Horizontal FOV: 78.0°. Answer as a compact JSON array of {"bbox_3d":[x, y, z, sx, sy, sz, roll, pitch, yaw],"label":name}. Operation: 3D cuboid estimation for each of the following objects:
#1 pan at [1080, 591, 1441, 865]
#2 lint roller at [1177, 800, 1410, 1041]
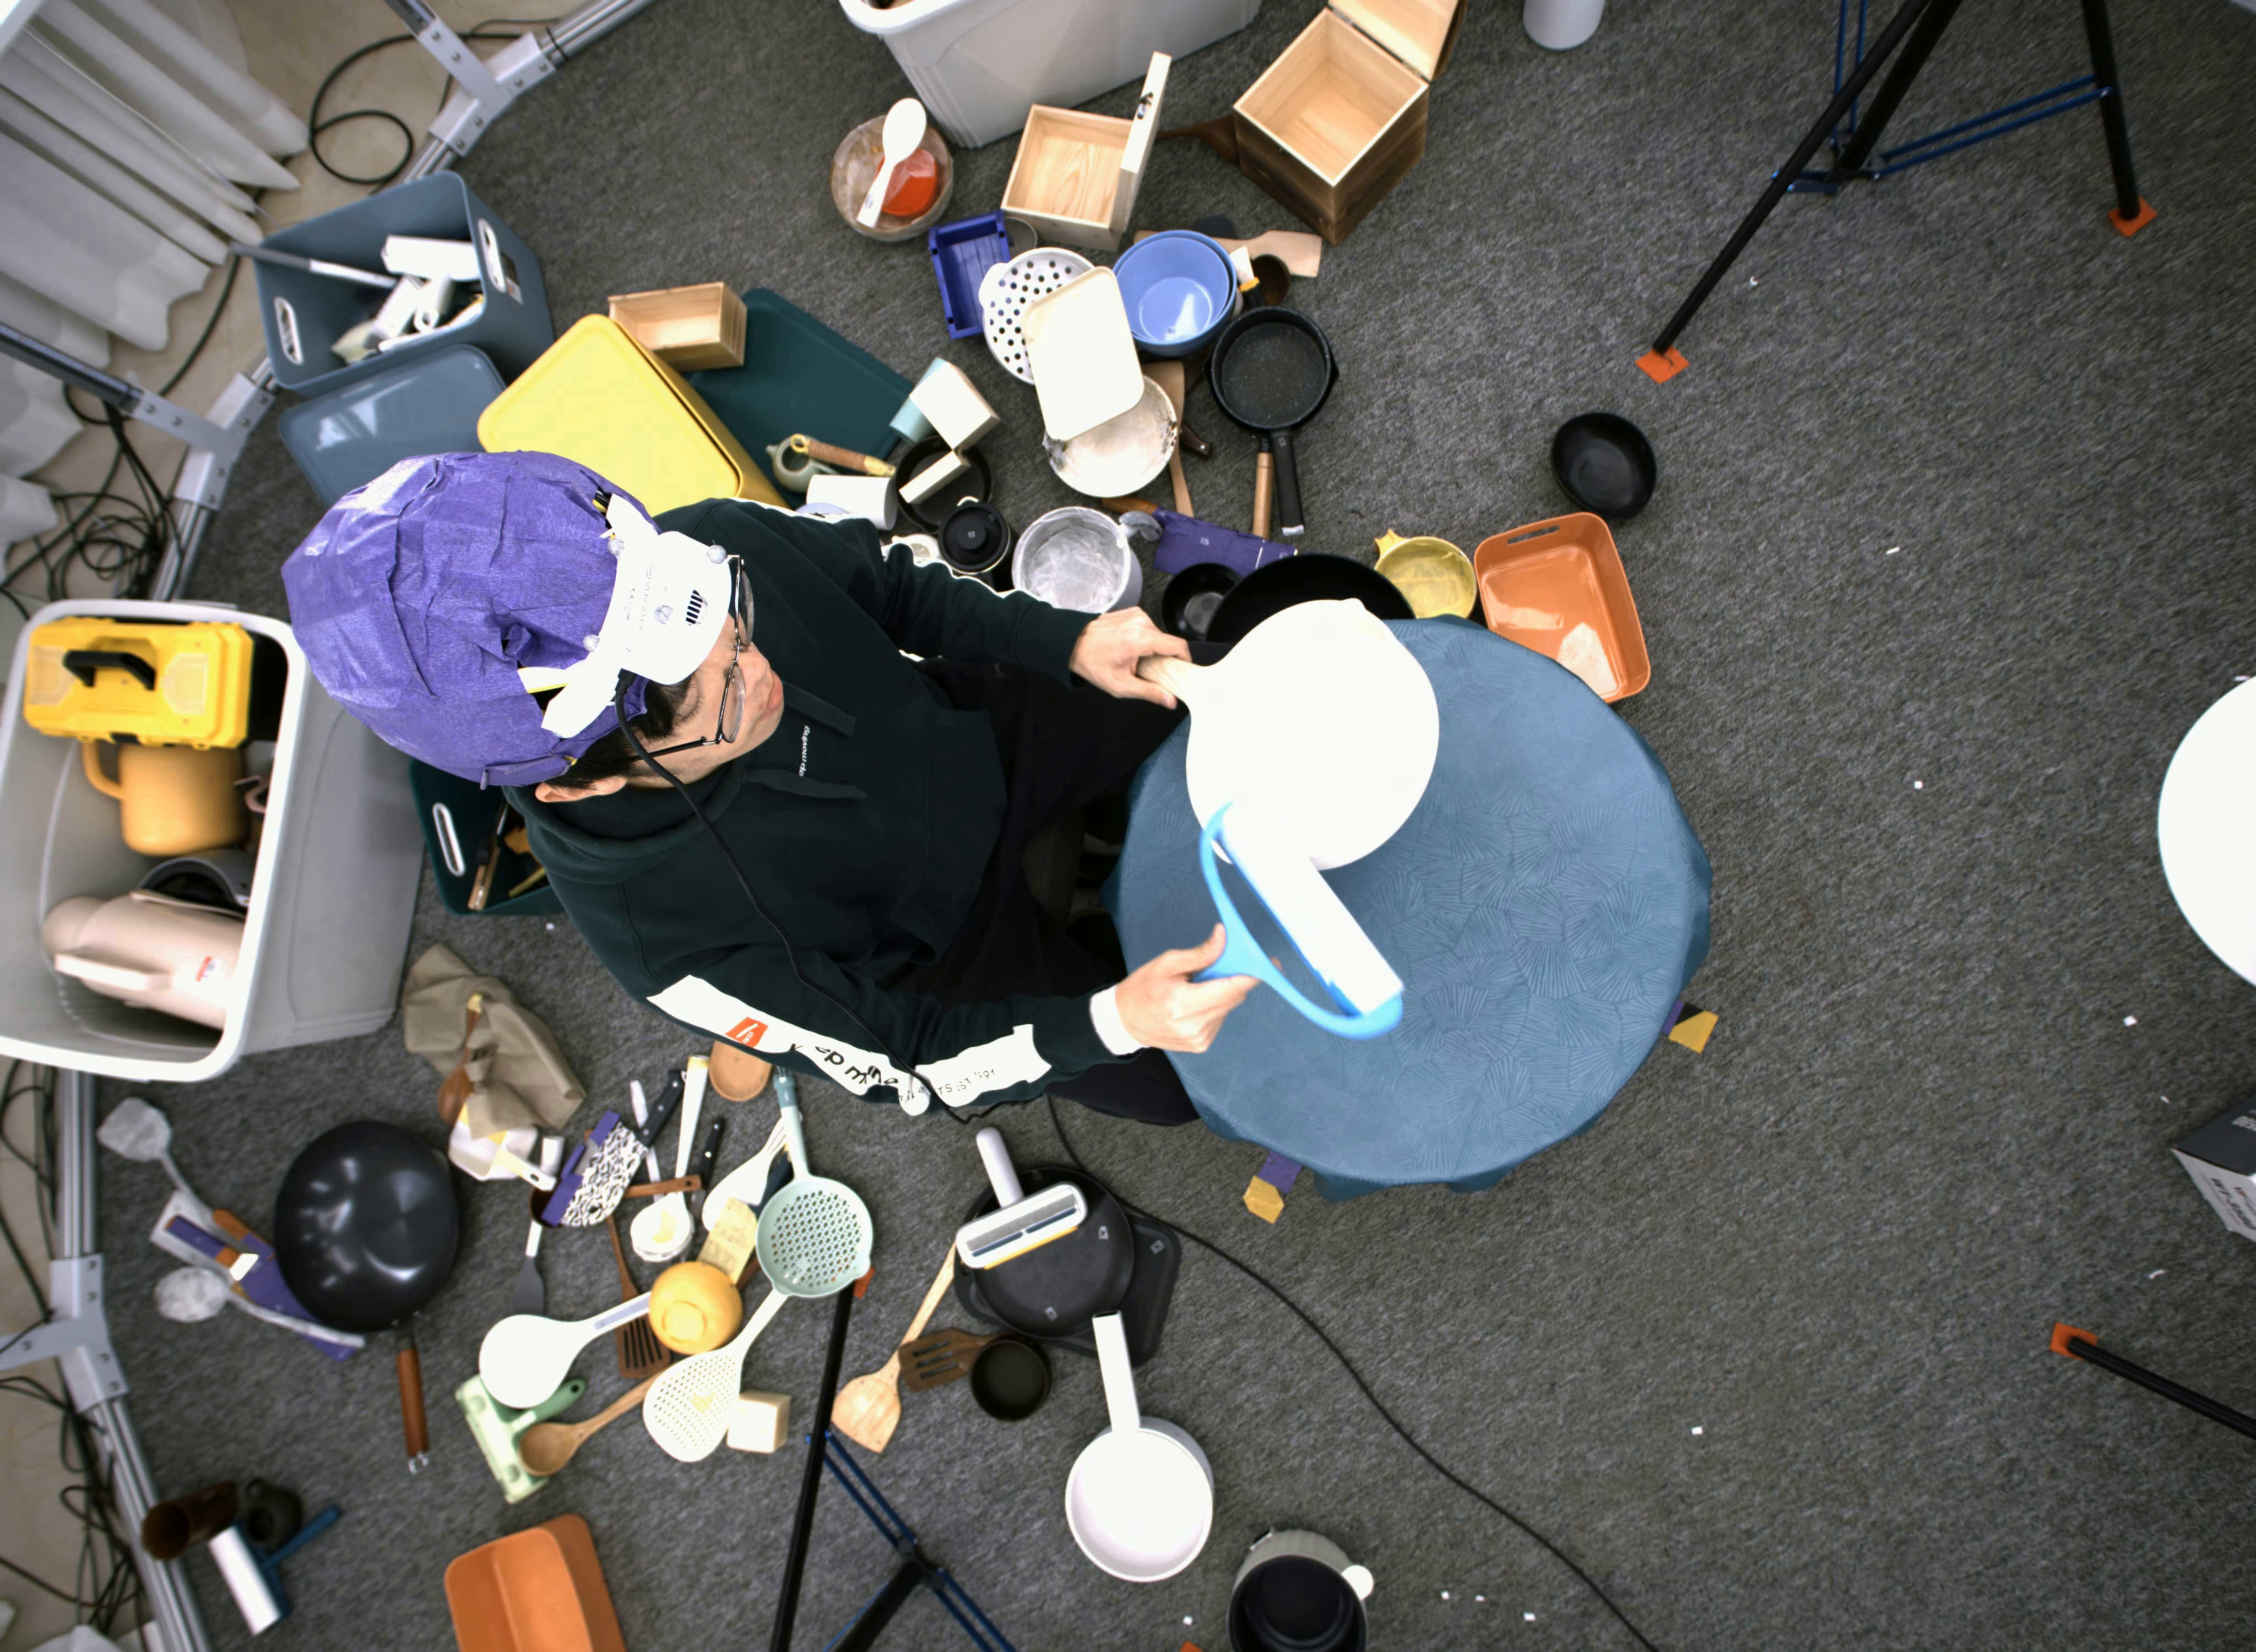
[{"bbox_3d":[0.115,-0.114,1.321,0.431,0.102,0.265,31,100,47],"label":"pan"},{"bbox_3d":[0.106,0.110,1.140,0.182,0.068,0.227,-41,75,14],"label":"lint roller"}]
